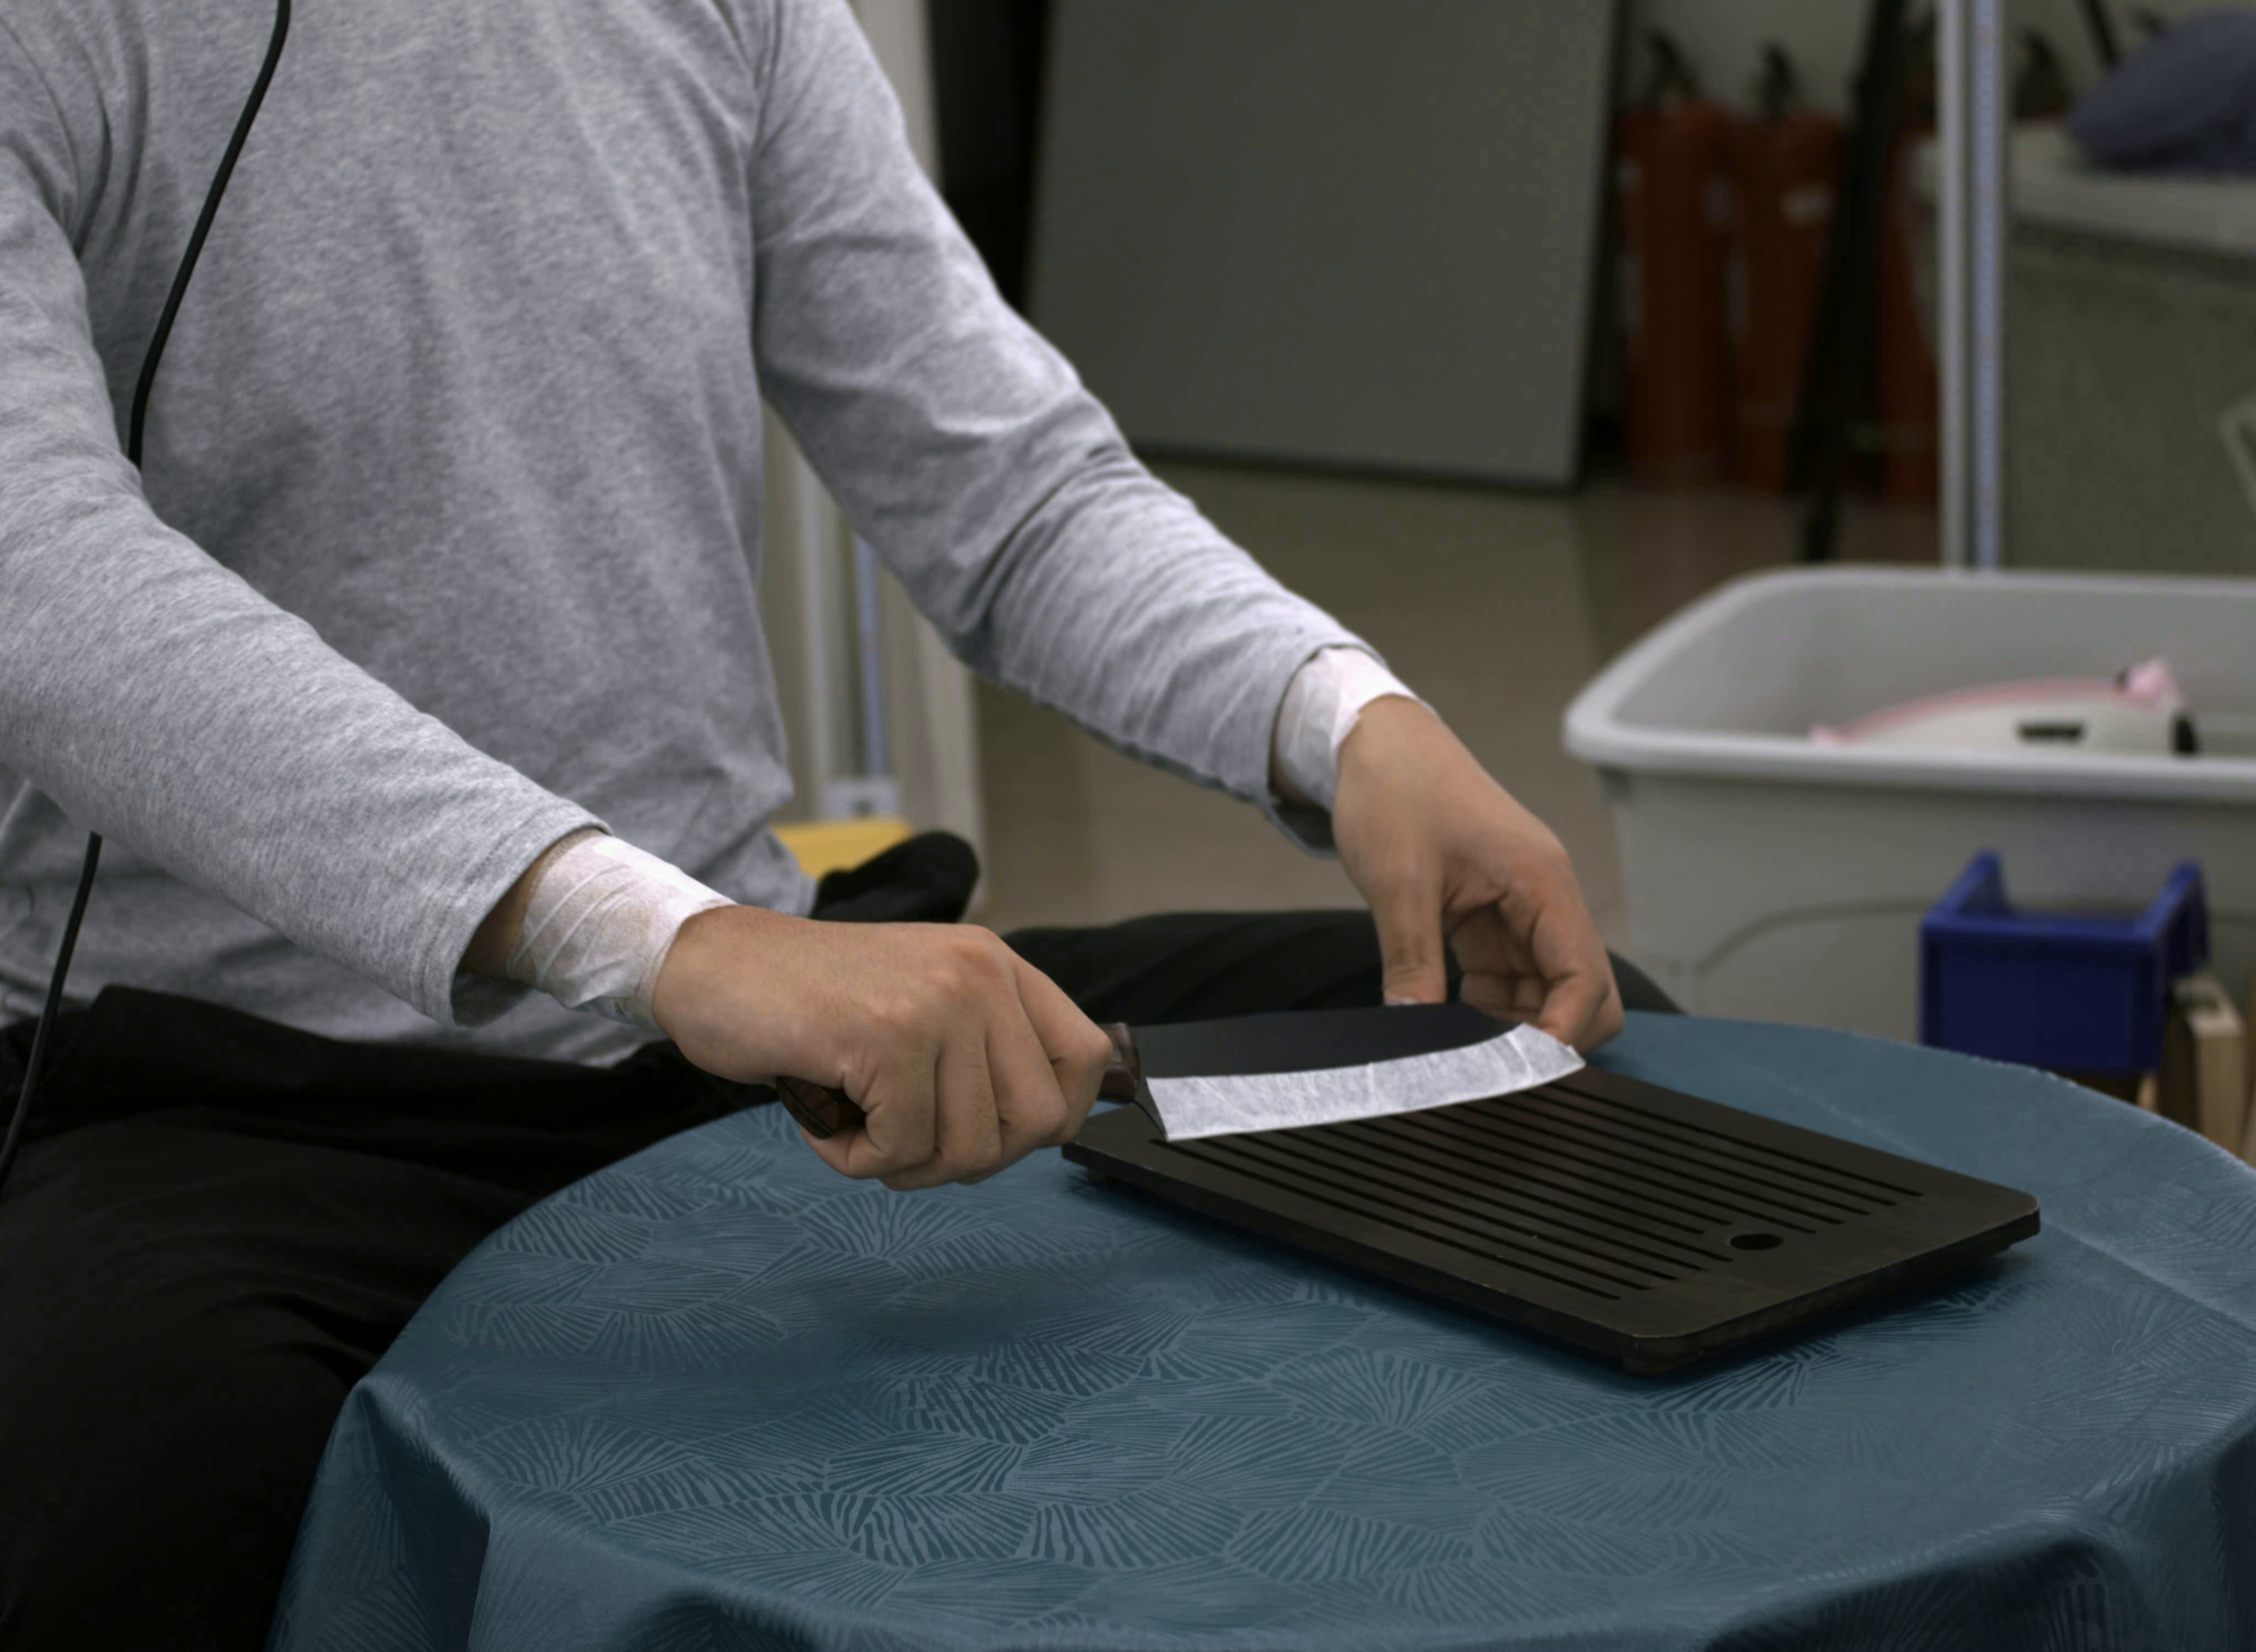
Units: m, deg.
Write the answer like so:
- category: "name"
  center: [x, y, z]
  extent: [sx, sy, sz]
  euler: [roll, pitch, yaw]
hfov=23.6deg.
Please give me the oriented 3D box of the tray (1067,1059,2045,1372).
- category: "tray"
  center: [0.131, 0.116, 1.719]
  extent: [0.166, 0.019, 0.309]
  euler: [-14, 16, -33]

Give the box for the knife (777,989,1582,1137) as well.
- category: "knife"
  center: [0.022, 0.076, 1.689]
  extent: [0.282, 0.020, 0.051]
  euler: [-2, 53, -27]
